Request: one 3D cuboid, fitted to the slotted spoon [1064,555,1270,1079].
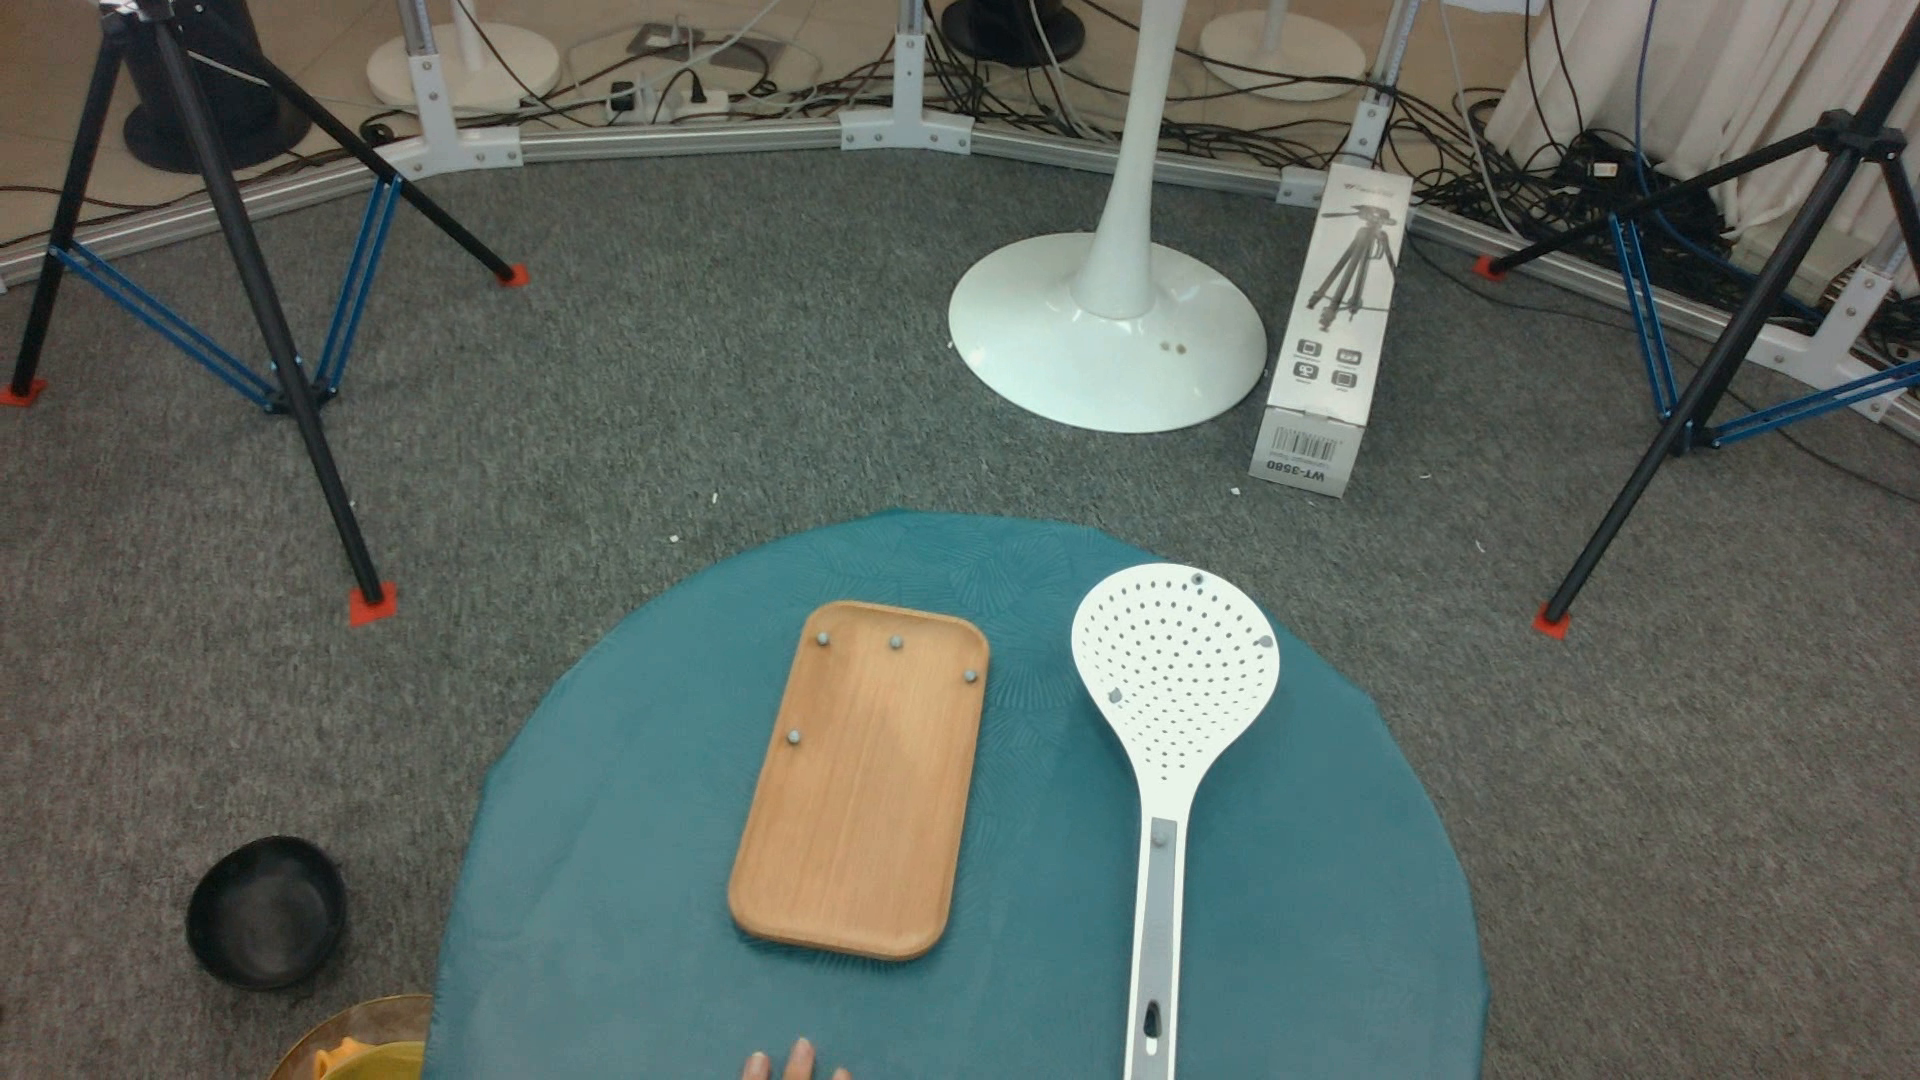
[{"bbox_3d":[0.118,0.152,0.840,0.136,0.045,0.351,9,47,4],"label":"slotted spoon"}]

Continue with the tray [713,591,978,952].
[{"bbox_3d":[-0.064,0.134,0.854,0.130,0.023,0.252,8,47,3],"label":"tray"}]
